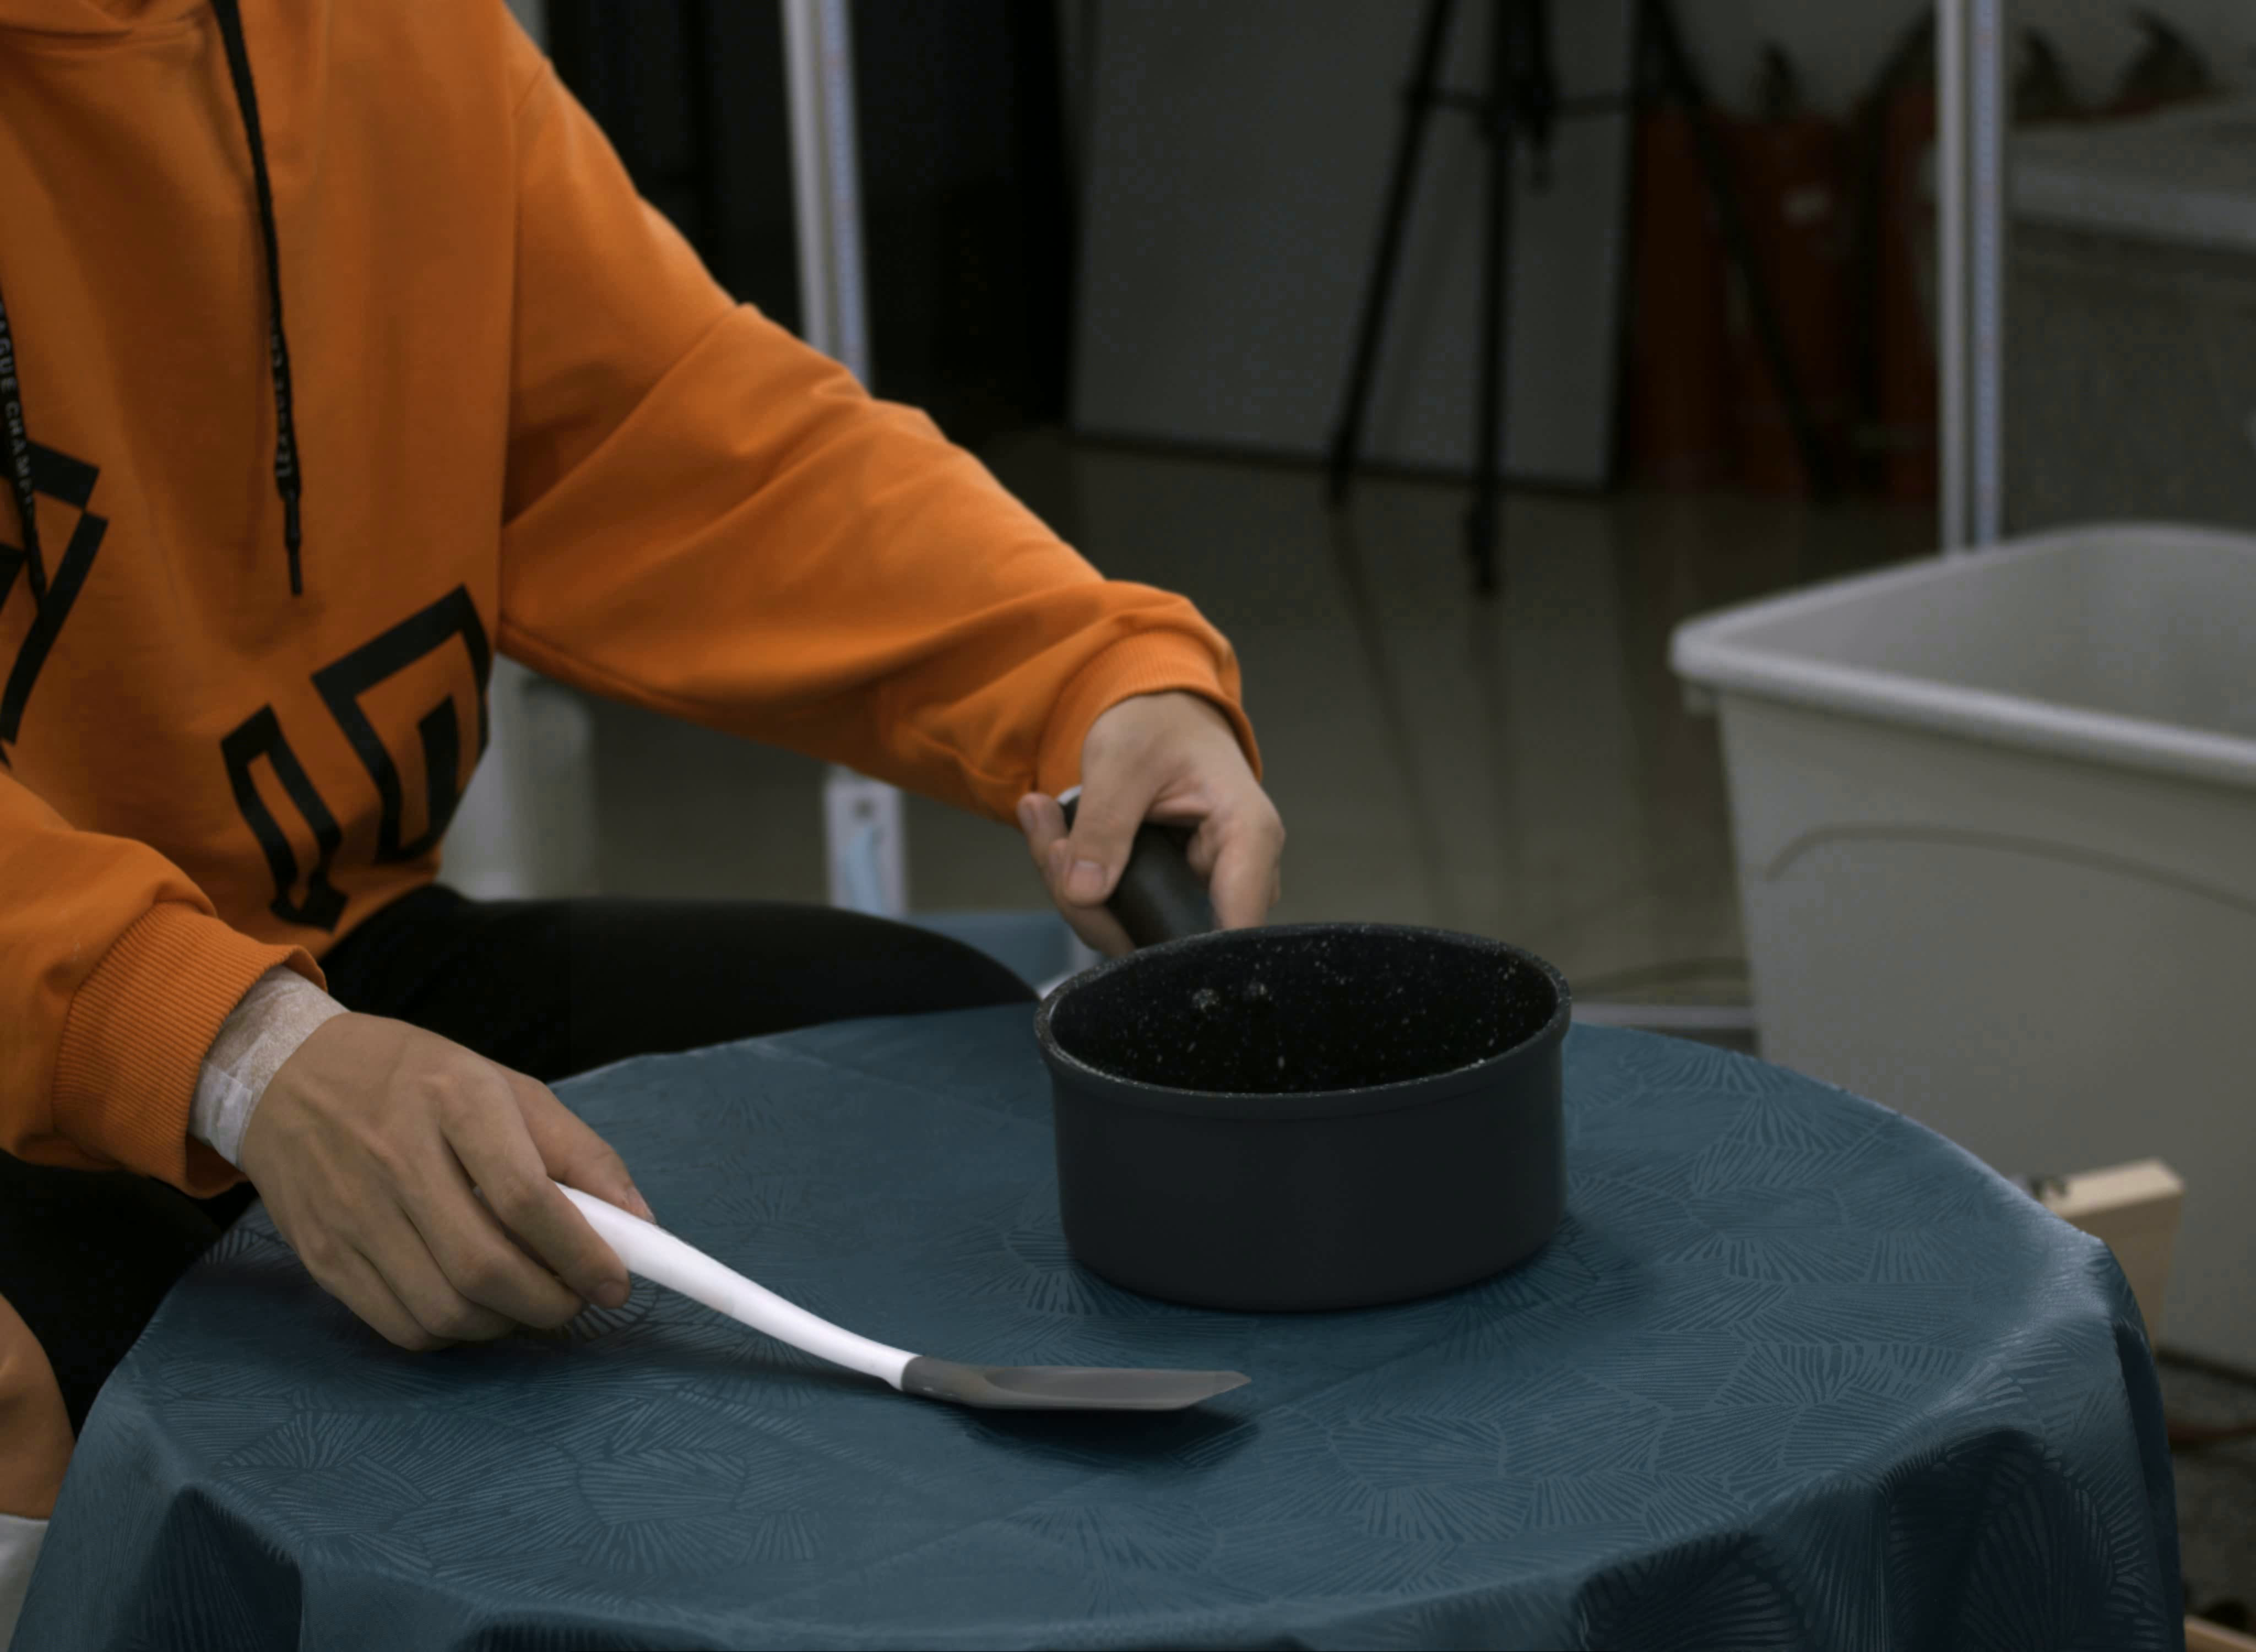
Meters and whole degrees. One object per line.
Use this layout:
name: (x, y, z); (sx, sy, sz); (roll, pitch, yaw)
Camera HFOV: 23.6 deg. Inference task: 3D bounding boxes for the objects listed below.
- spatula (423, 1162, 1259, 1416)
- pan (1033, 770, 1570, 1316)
spatula: (-0.091, 0.145, 1.612); (0.289, 0.032, 0.057); (12, 7, 32)
pan: (0.038, 0.067, 1.780); (0.169, 0.087, 0.331); (-7, 18, -12)
